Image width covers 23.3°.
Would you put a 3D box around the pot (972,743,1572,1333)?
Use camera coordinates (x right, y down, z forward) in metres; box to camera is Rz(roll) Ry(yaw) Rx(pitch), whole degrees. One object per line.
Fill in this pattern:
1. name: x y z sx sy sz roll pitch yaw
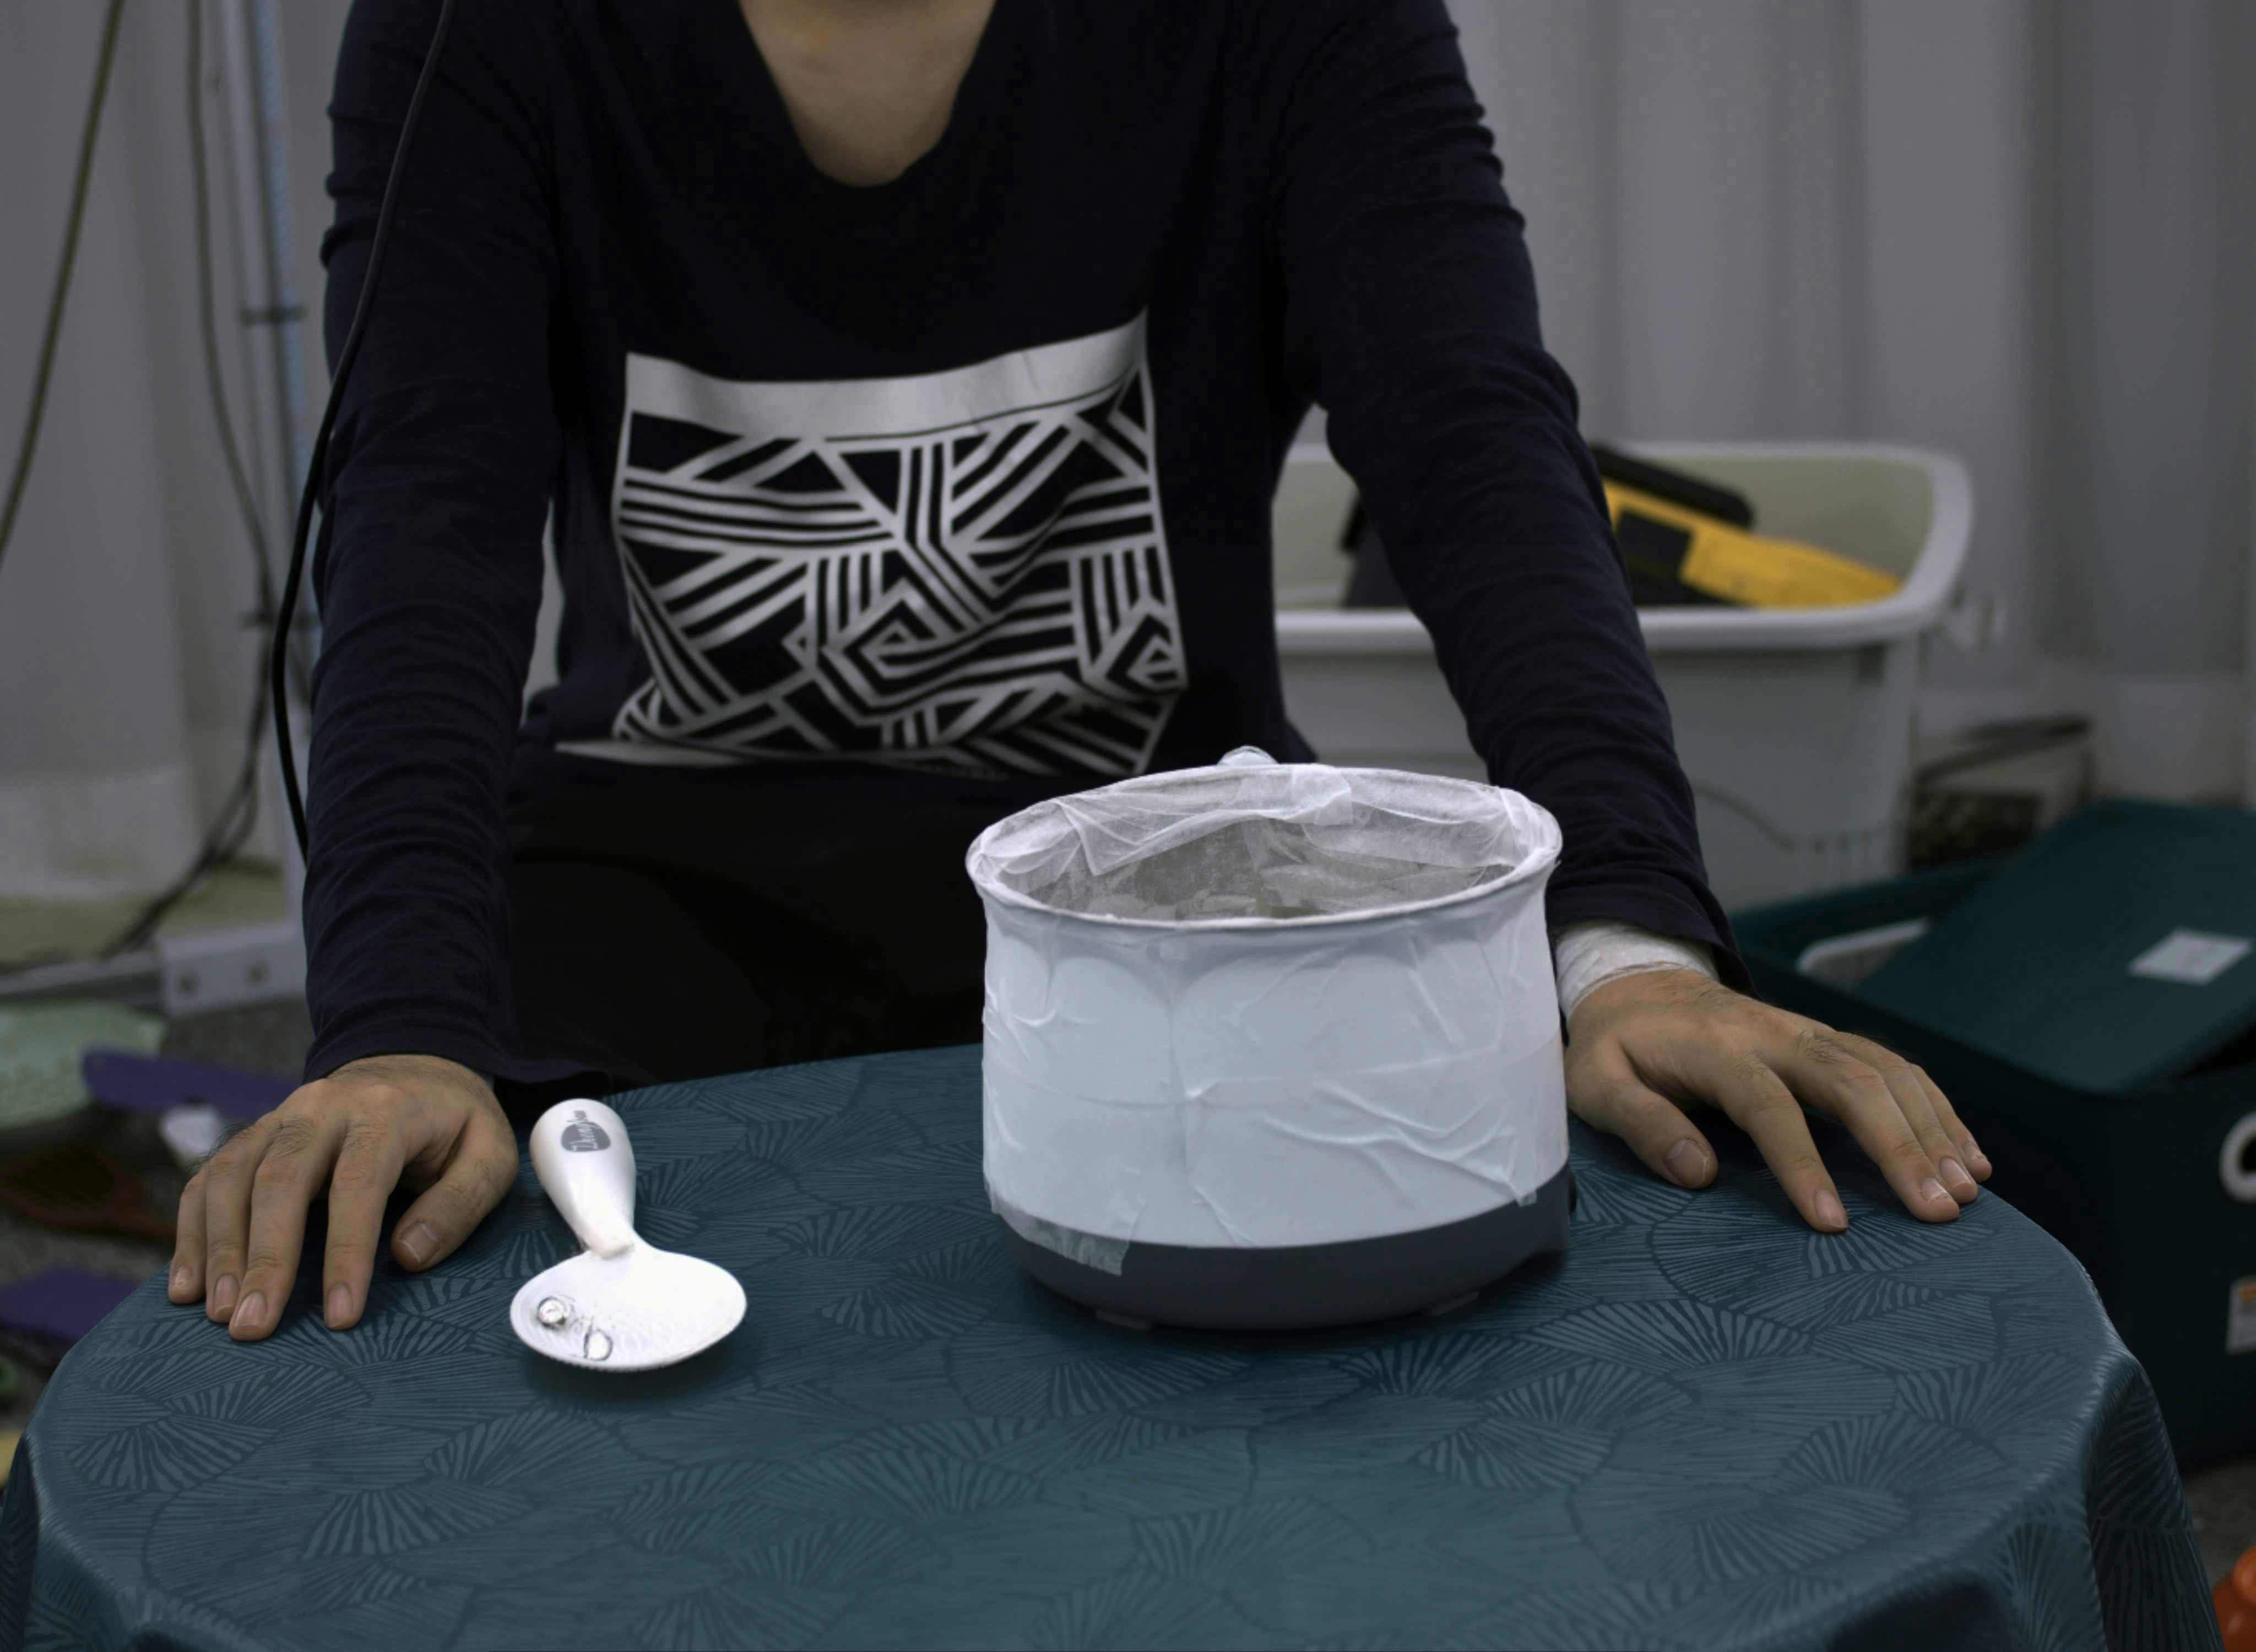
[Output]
1. pot: 0.041 0.059 1.656 0.178 0.136 0.235 -1 15 -3

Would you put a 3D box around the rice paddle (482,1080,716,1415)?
1. rice paddle: -0.166 0.130 1.658 0.068 0.029 0.207 0 20 -12
